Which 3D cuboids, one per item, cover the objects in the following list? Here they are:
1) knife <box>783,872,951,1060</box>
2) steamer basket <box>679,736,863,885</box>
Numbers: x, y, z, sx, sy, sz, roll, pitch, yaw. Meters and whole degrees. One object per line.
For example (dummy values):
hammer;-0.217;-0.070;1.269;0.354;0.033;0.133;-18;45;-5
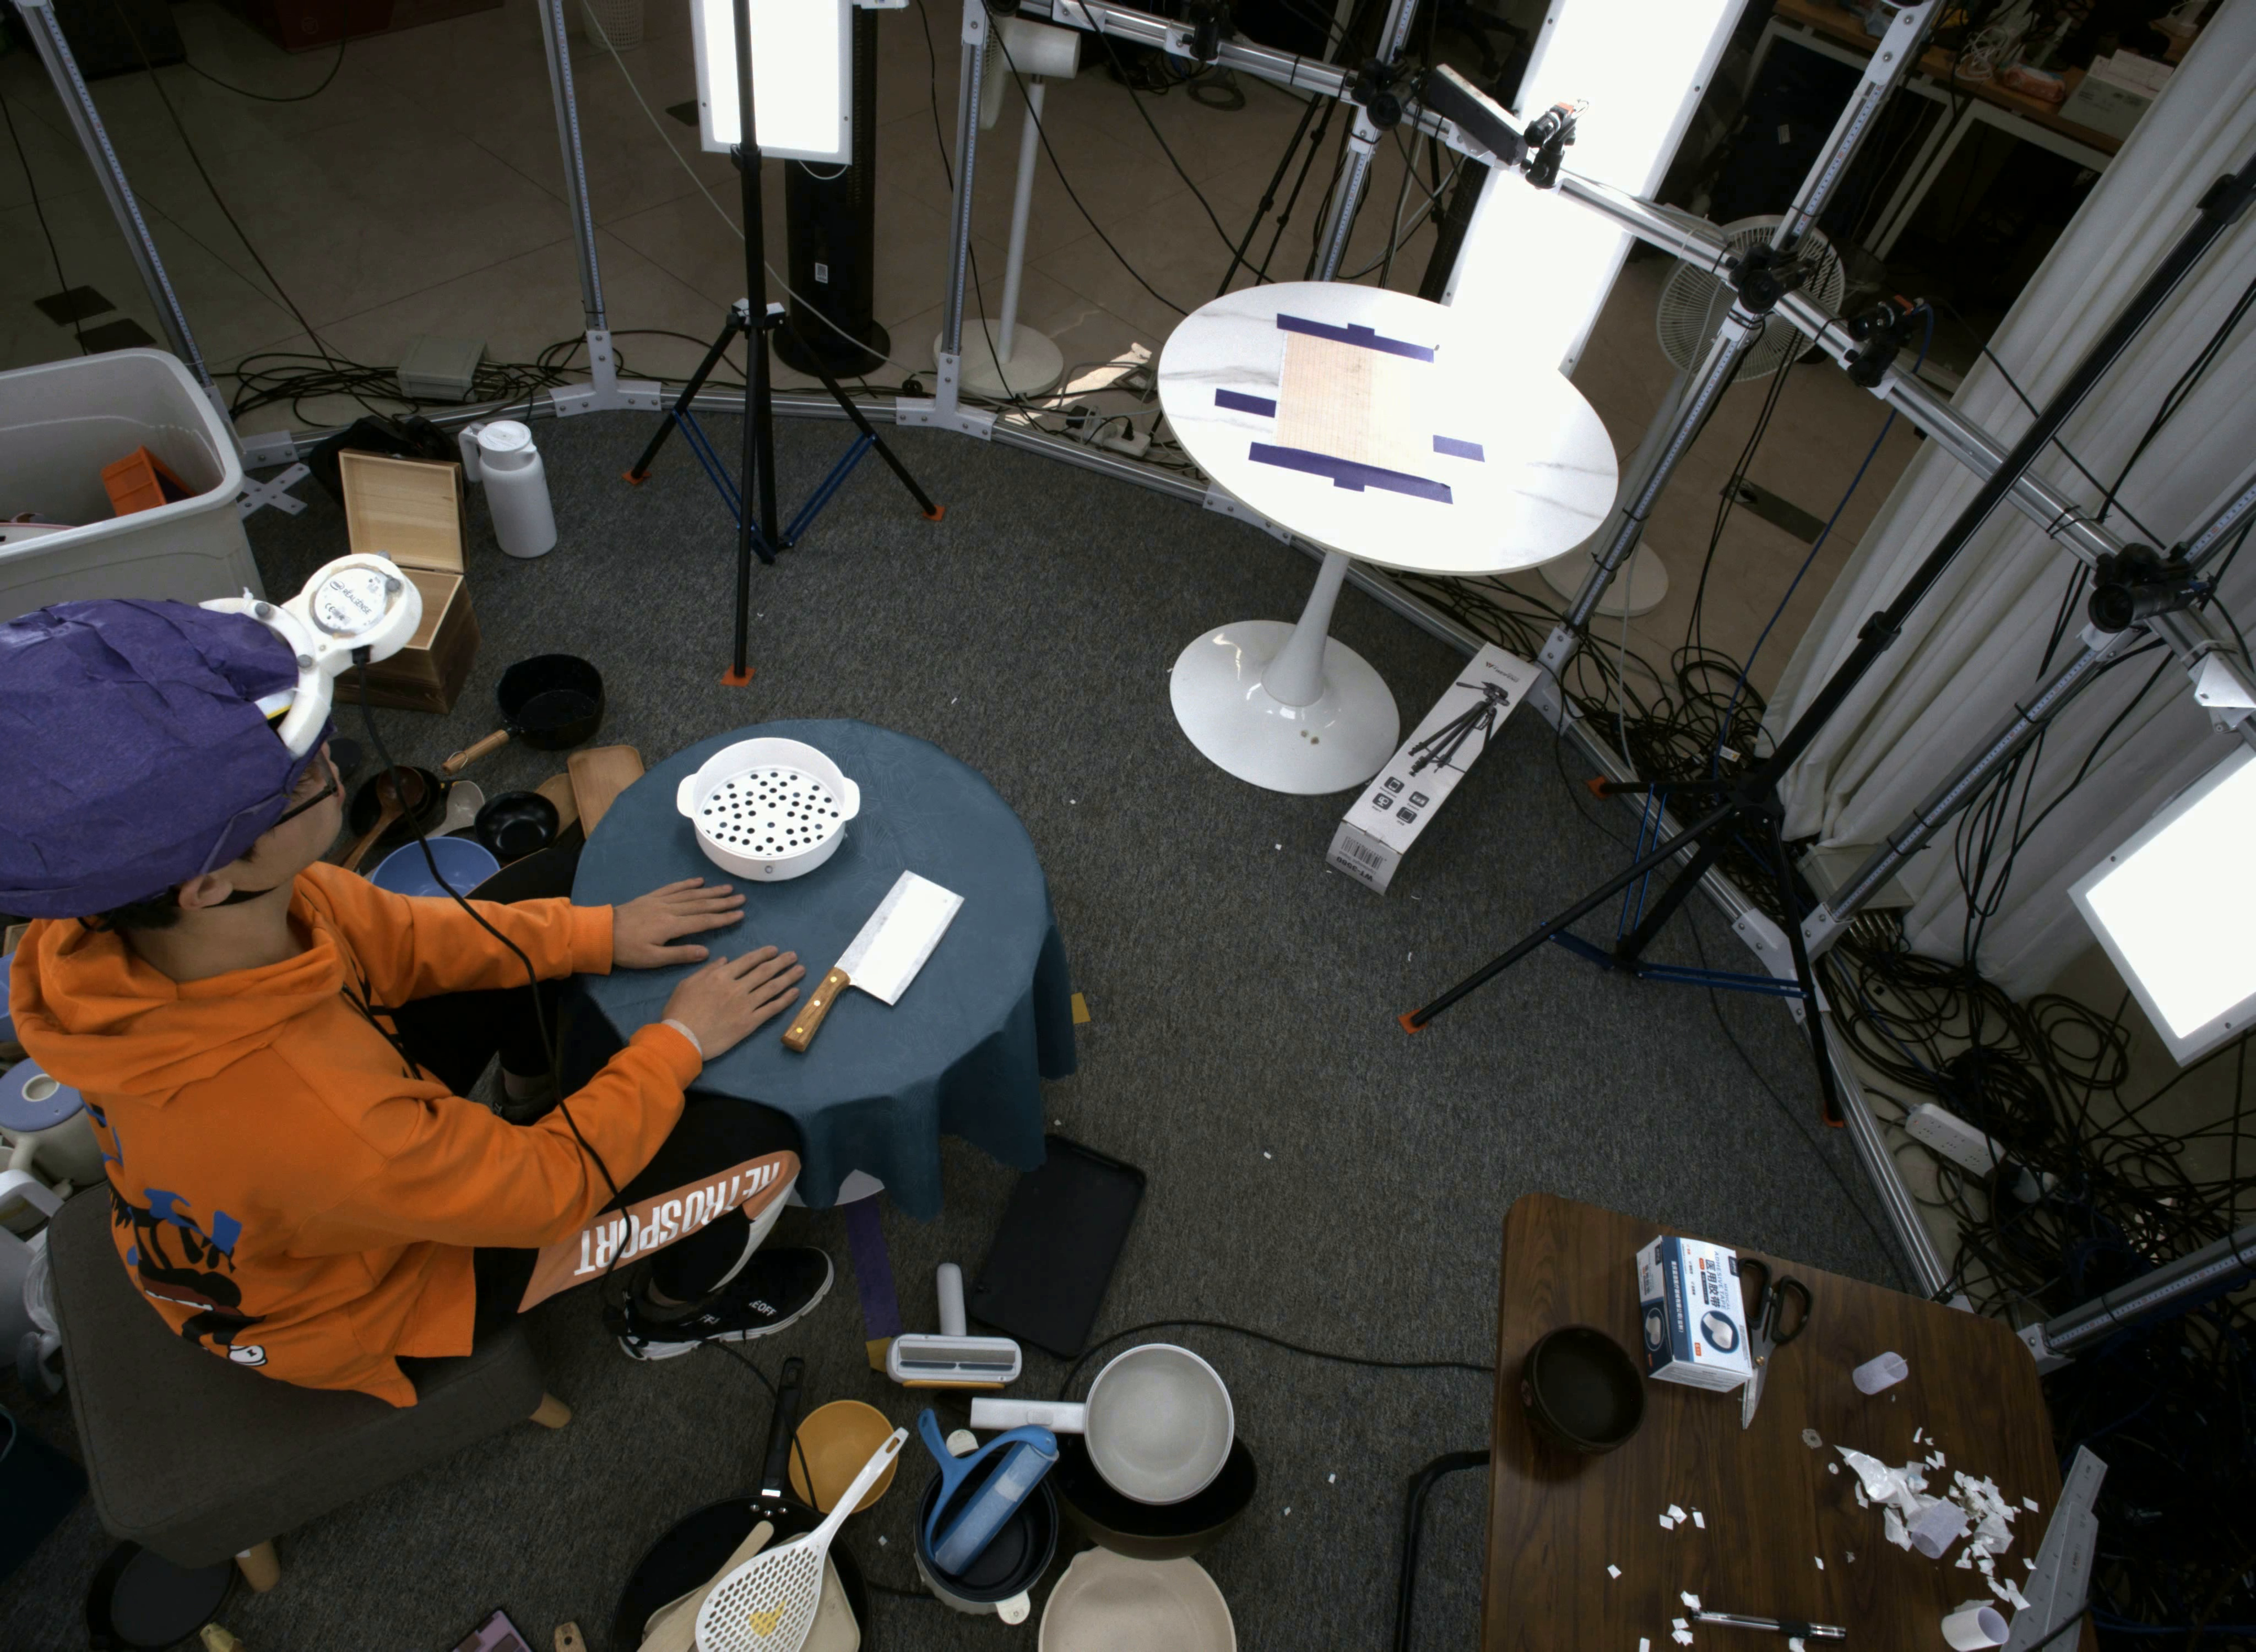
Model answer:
knife;-0.312;0.173;1.604;0.092;0.021;0.303;27;49;4
steamer basket;-0.461;-0.021;1.676;0.231;0.070;0.198;2;54;-15
